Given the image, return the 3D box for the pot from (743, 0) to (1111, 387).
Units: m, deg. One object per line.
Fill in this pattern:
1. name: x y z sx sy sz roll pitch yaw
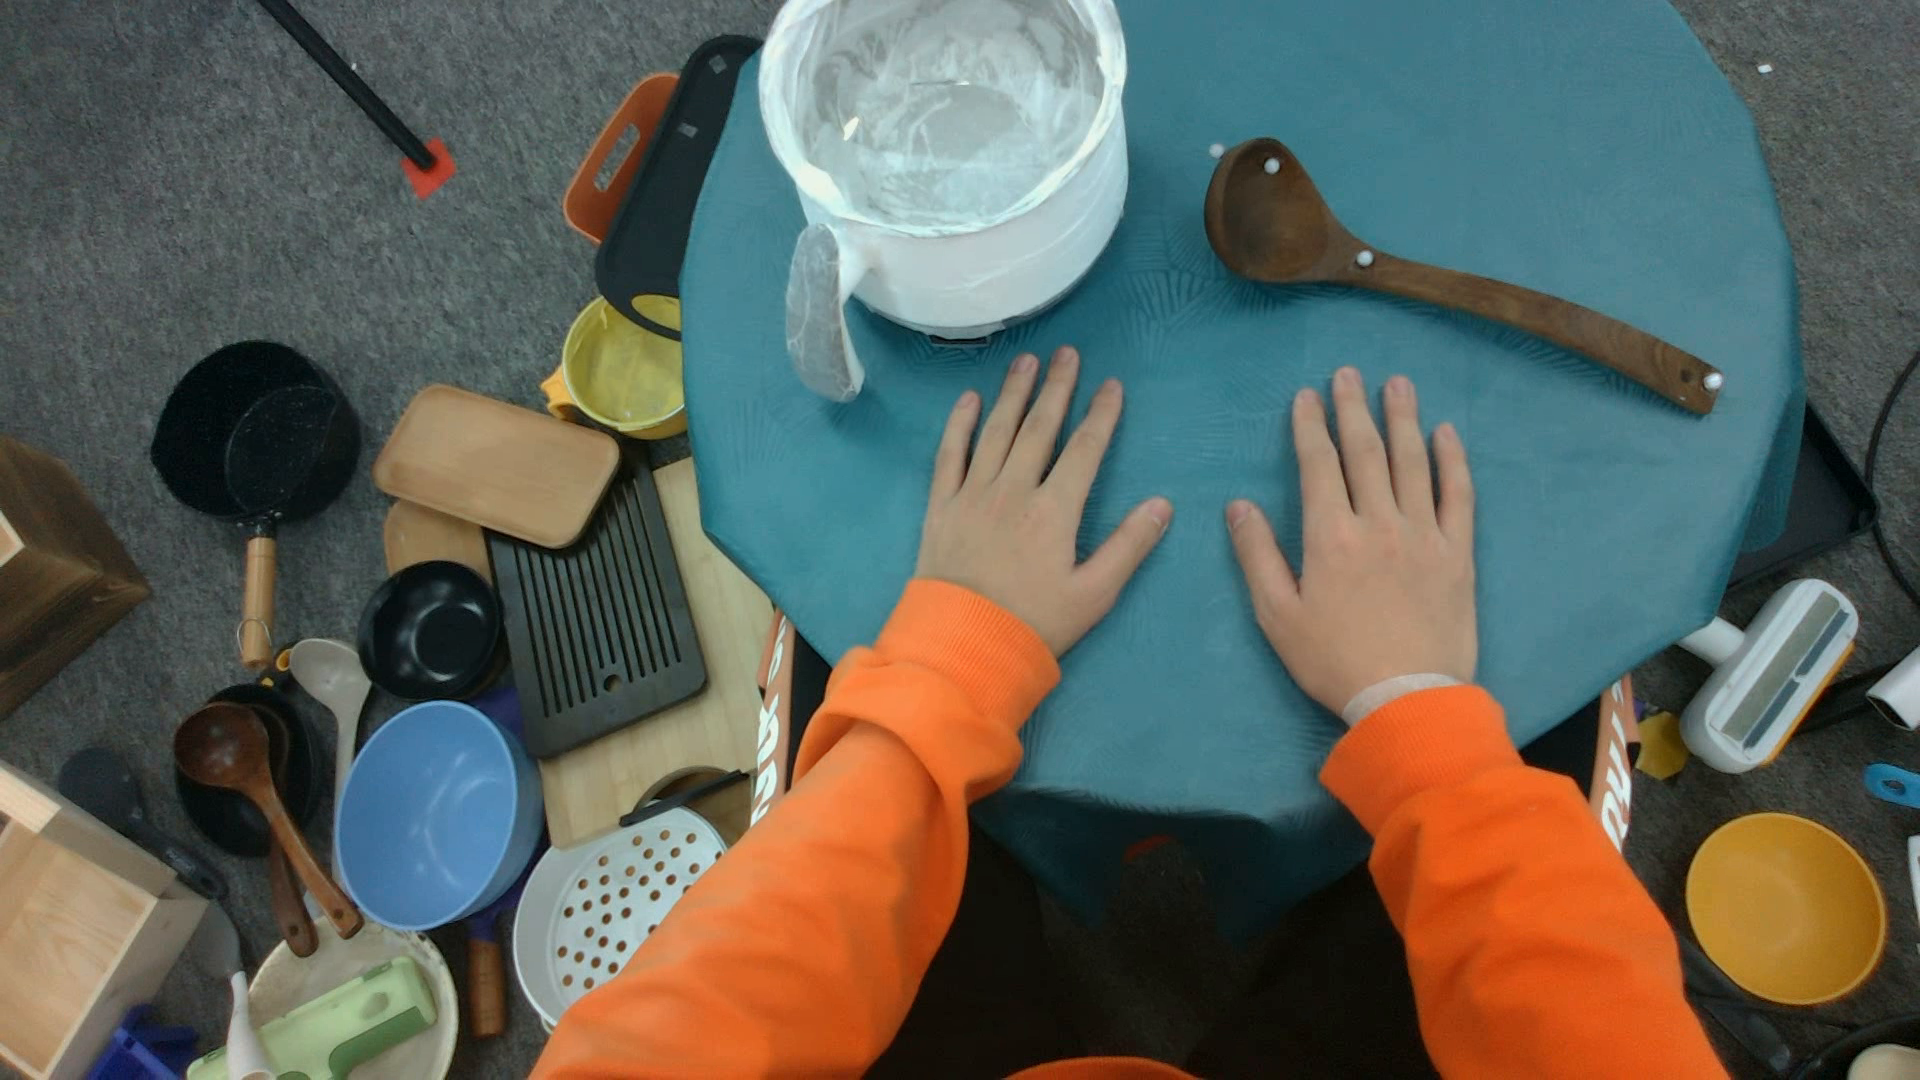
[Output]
1. pot: -0.025 -0.192 0.714 0.179 0.136 0.234 29 79 14

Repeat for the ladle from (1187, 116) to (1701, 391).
1. ladle: 0.248 -0.144 0.703 0.274 0.071 0.076 23 81 13
